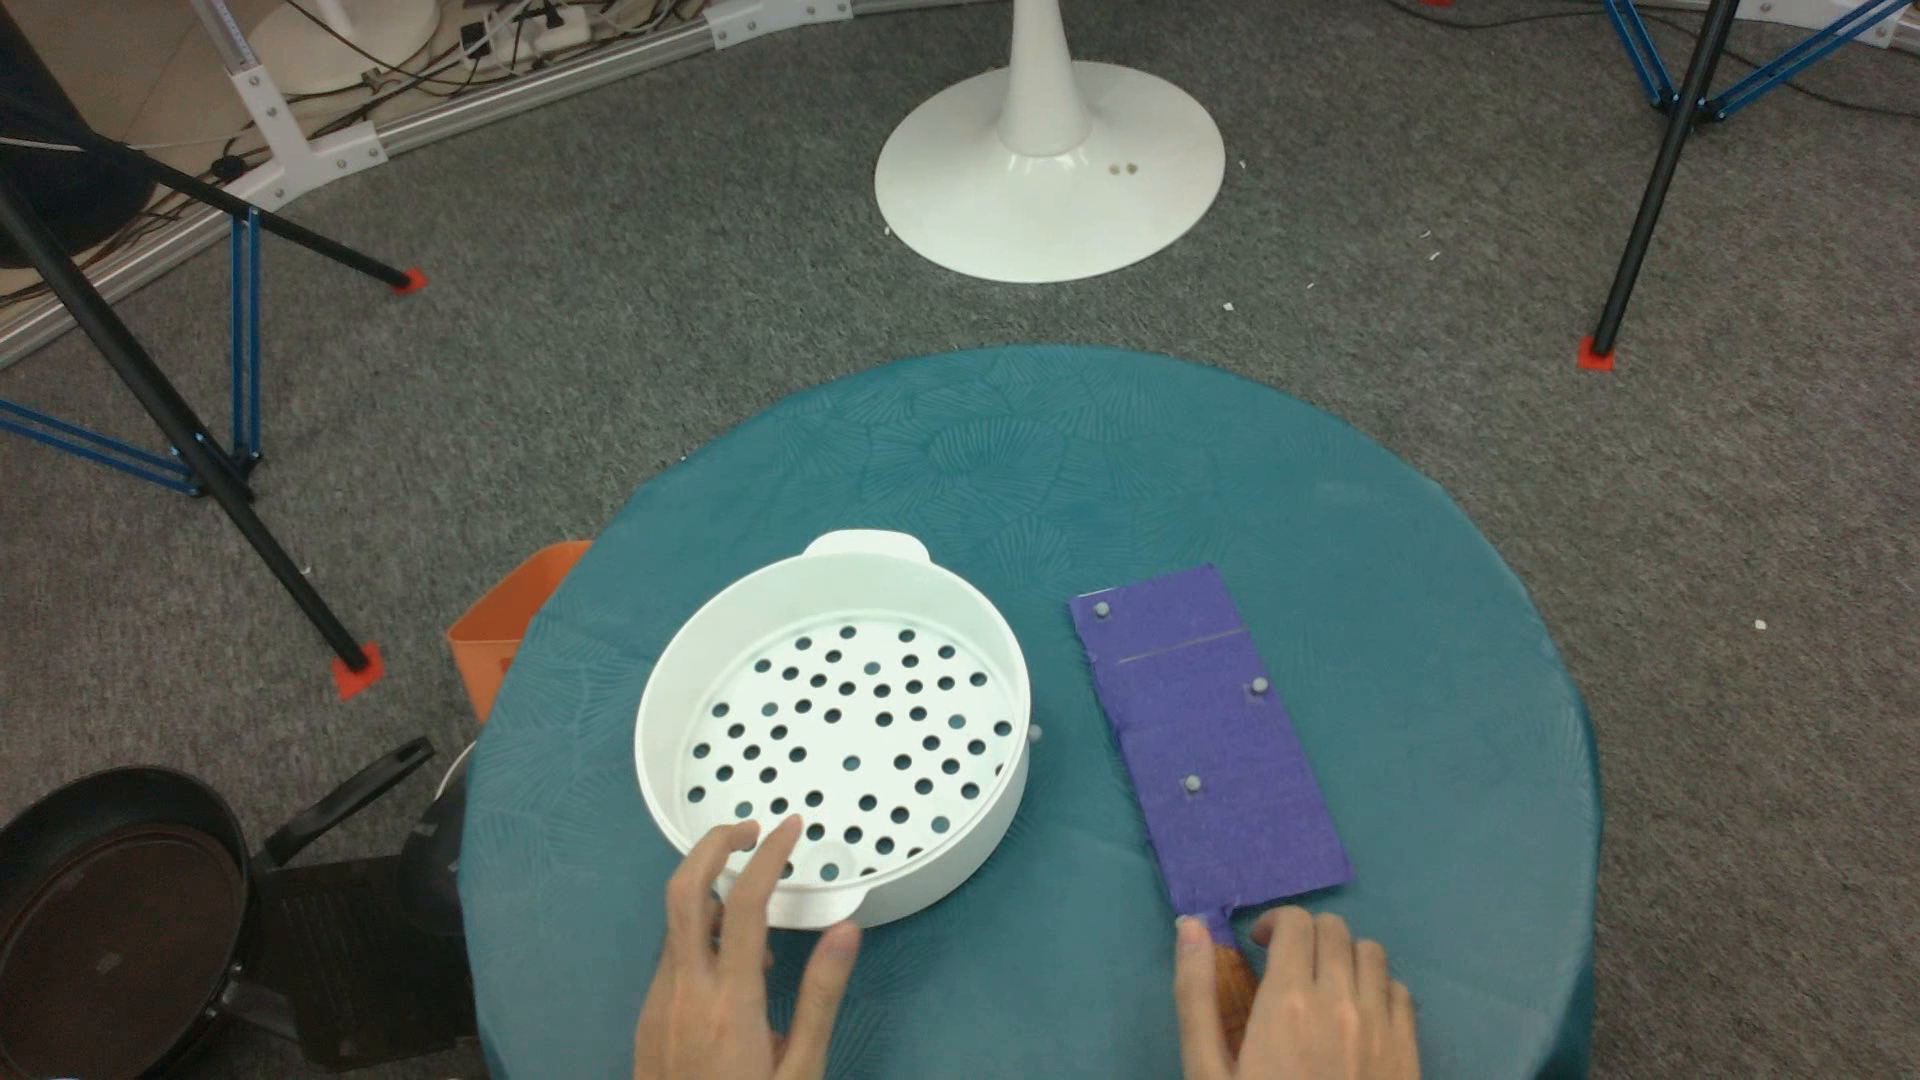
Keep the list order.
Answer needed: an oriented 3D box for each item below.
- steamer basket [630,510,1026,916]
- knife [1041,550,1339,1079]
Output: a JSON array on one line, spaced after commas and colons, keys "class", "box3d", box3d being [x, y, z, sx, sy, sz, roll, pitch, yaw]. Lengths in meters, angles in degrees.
[{"class": "steamer basket", "box3d": [-0.065, 0.094, 0.721, 0.202, 0.069, 0.231, 2, 55, 10]}, {"class": "knife", "box3d": [0.131, 0.126, 0.695, 0.104, 0.032, 0.316, -14, 51, -4]}]
